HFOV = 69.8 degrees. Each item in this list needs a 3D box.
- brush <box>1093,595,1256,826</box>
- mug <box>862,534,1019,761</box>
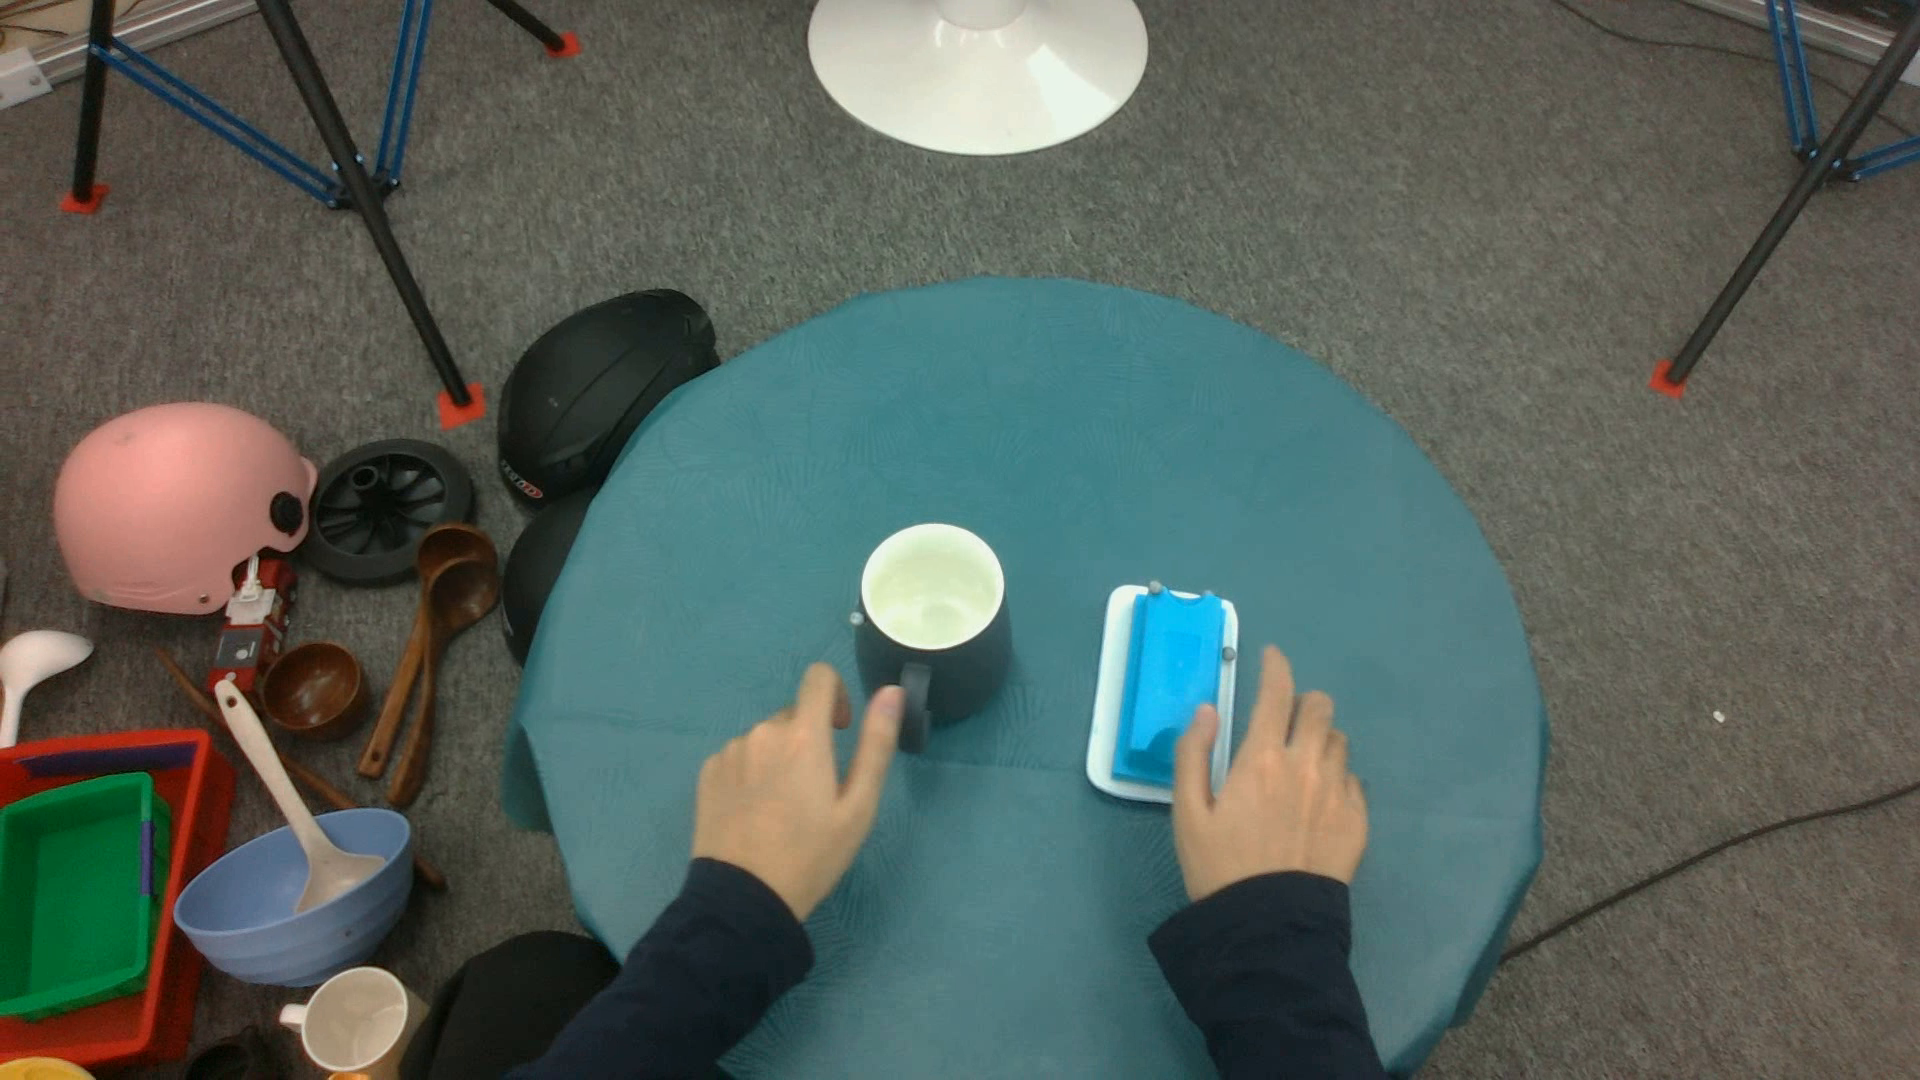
[{"bbox_3d":[0.127,0.090,0.798,0.084,0.055,0.144,9,54,9],"label":"brush"},{"bbox_3d":[-0.015,0.066,0.791,0.093,0.089,0.124,8,55,7],"label":"mug"}]
